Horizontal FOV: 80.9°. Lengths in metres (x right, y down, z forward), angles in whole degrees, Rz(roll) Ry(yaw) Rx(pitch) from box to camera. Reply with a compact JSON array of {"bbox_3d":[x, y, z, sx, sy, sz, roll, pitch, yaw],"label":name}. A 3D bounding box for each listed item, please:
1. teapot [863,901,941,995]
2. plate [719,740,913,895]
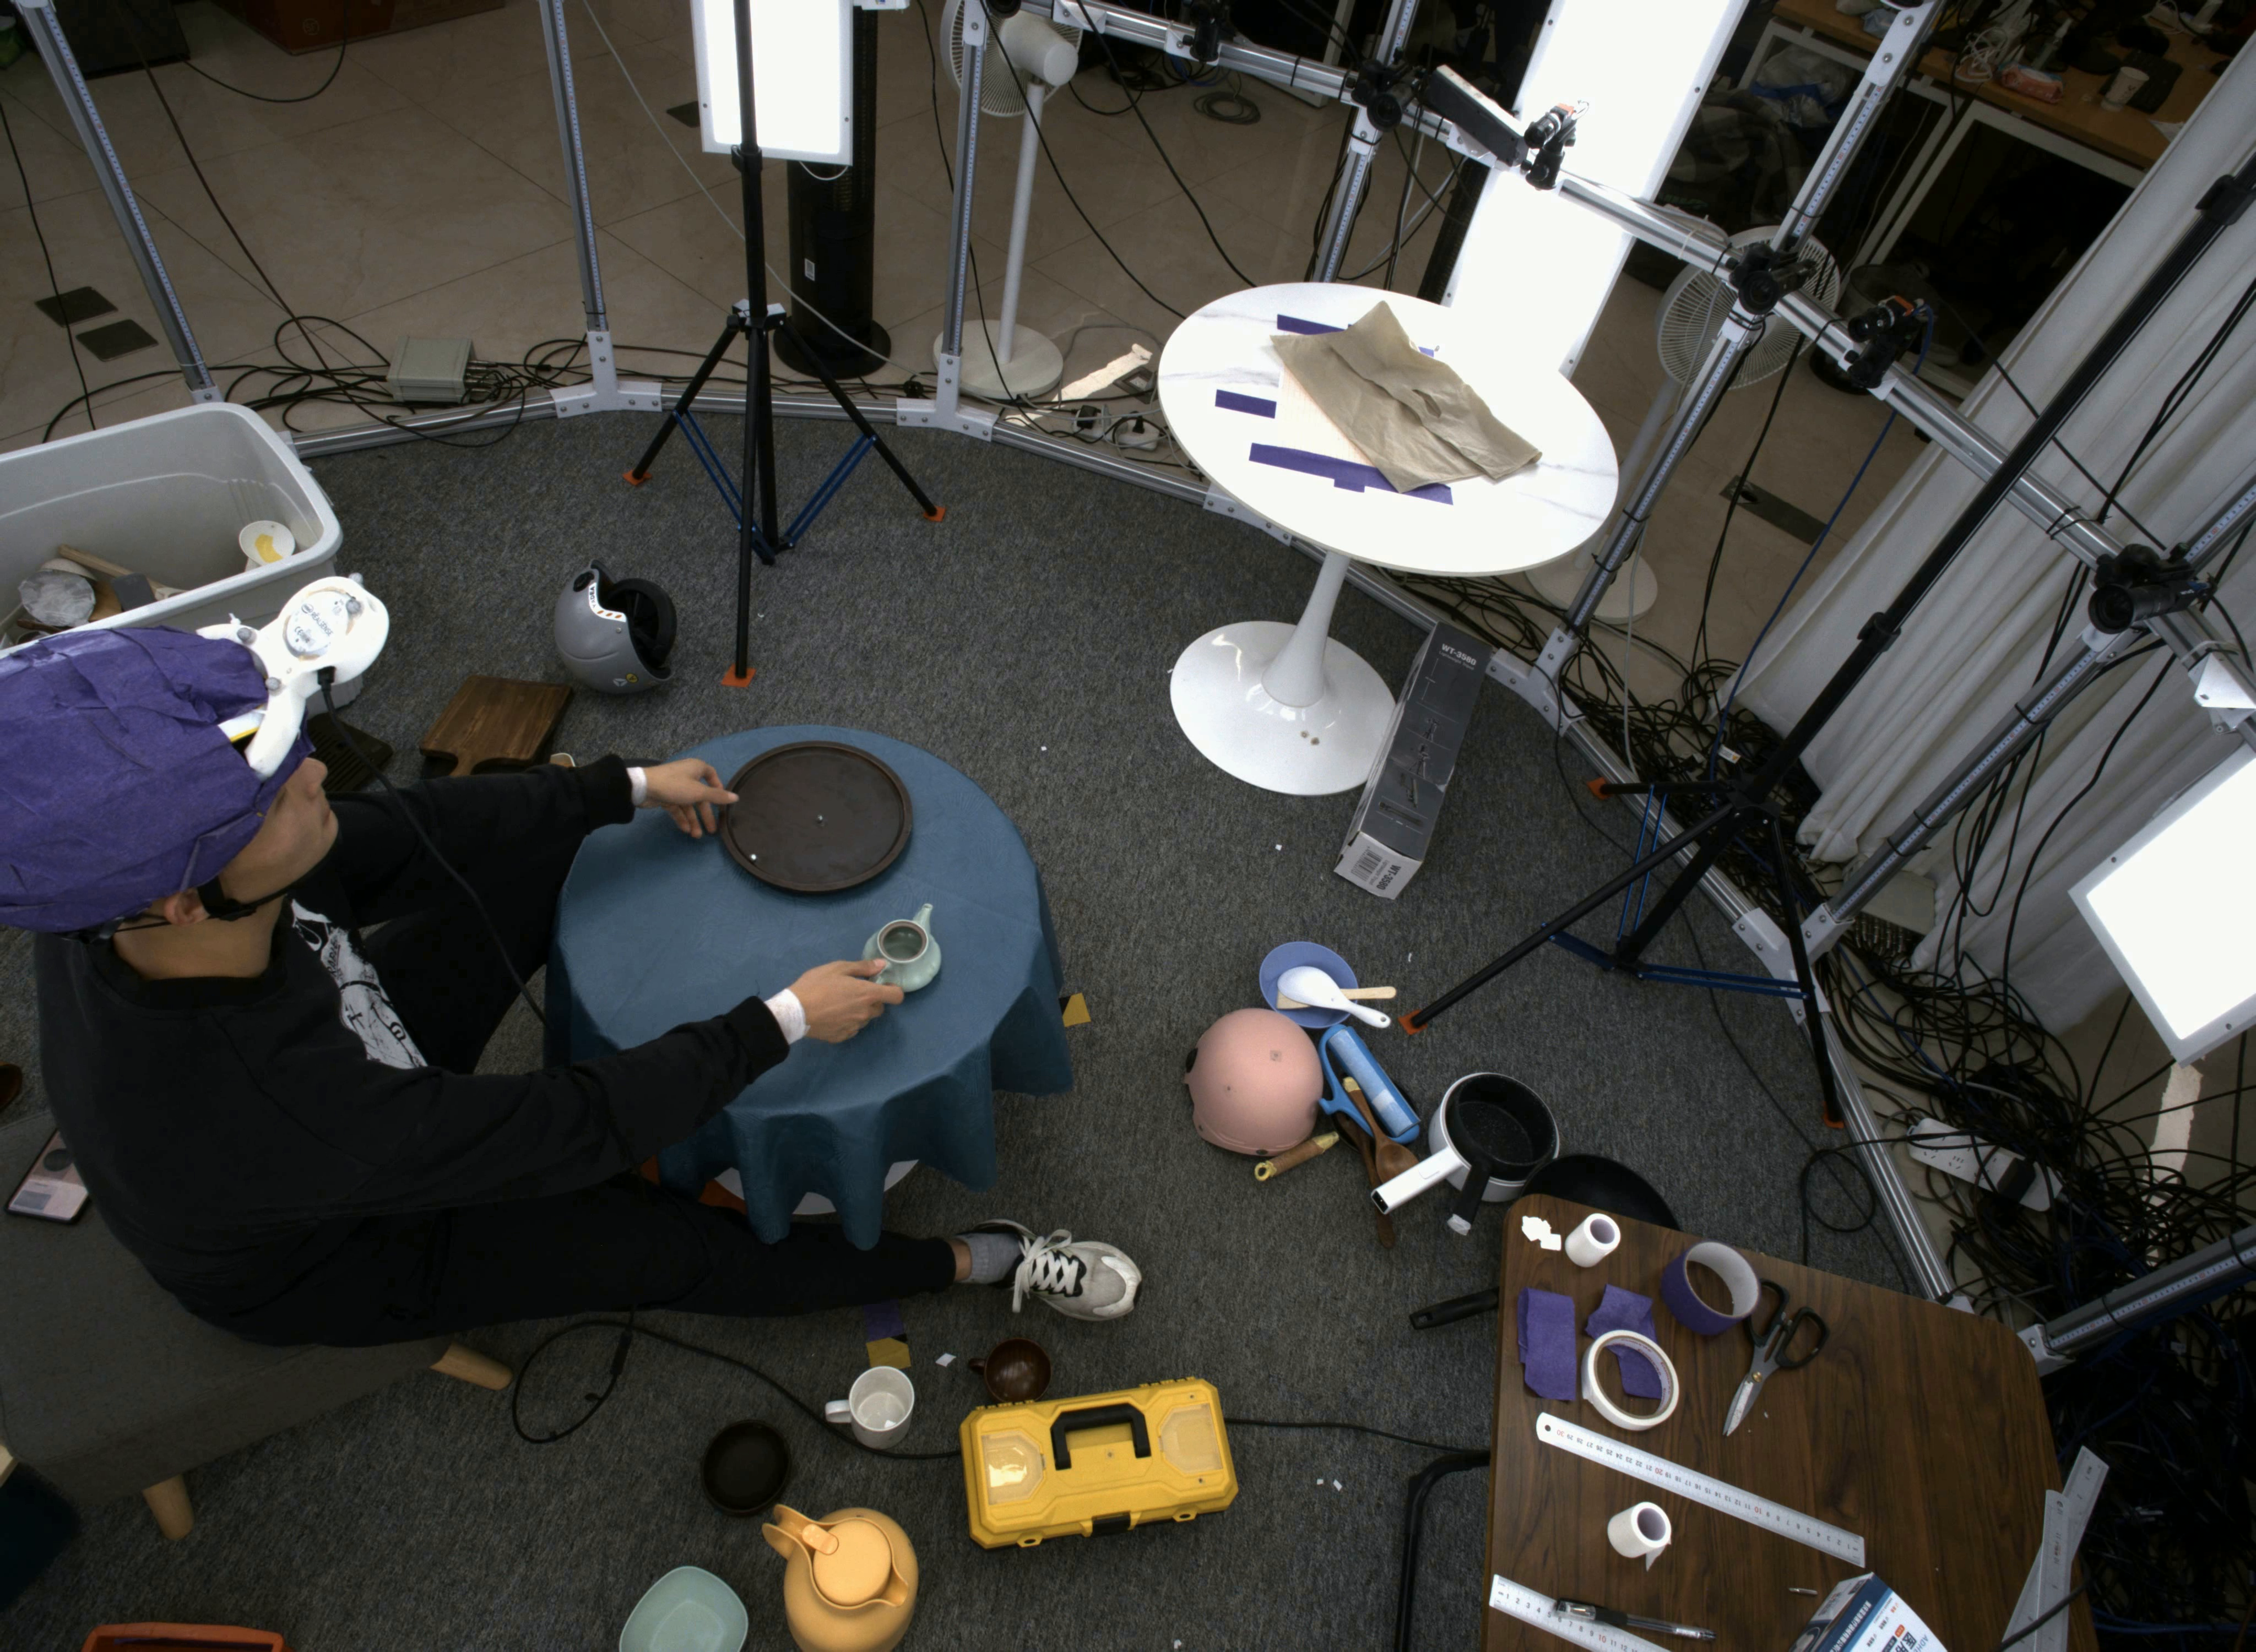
[{"bbox_3d":[-0.280,0.156,1.603,0.095,0.062,0.136,26,51,5],"label":"teapot"},{"bbox_3d":[-0.413,-0.014,1.719,0.254,0.029,0.250,9,52,-10],"label":"plate"}]
